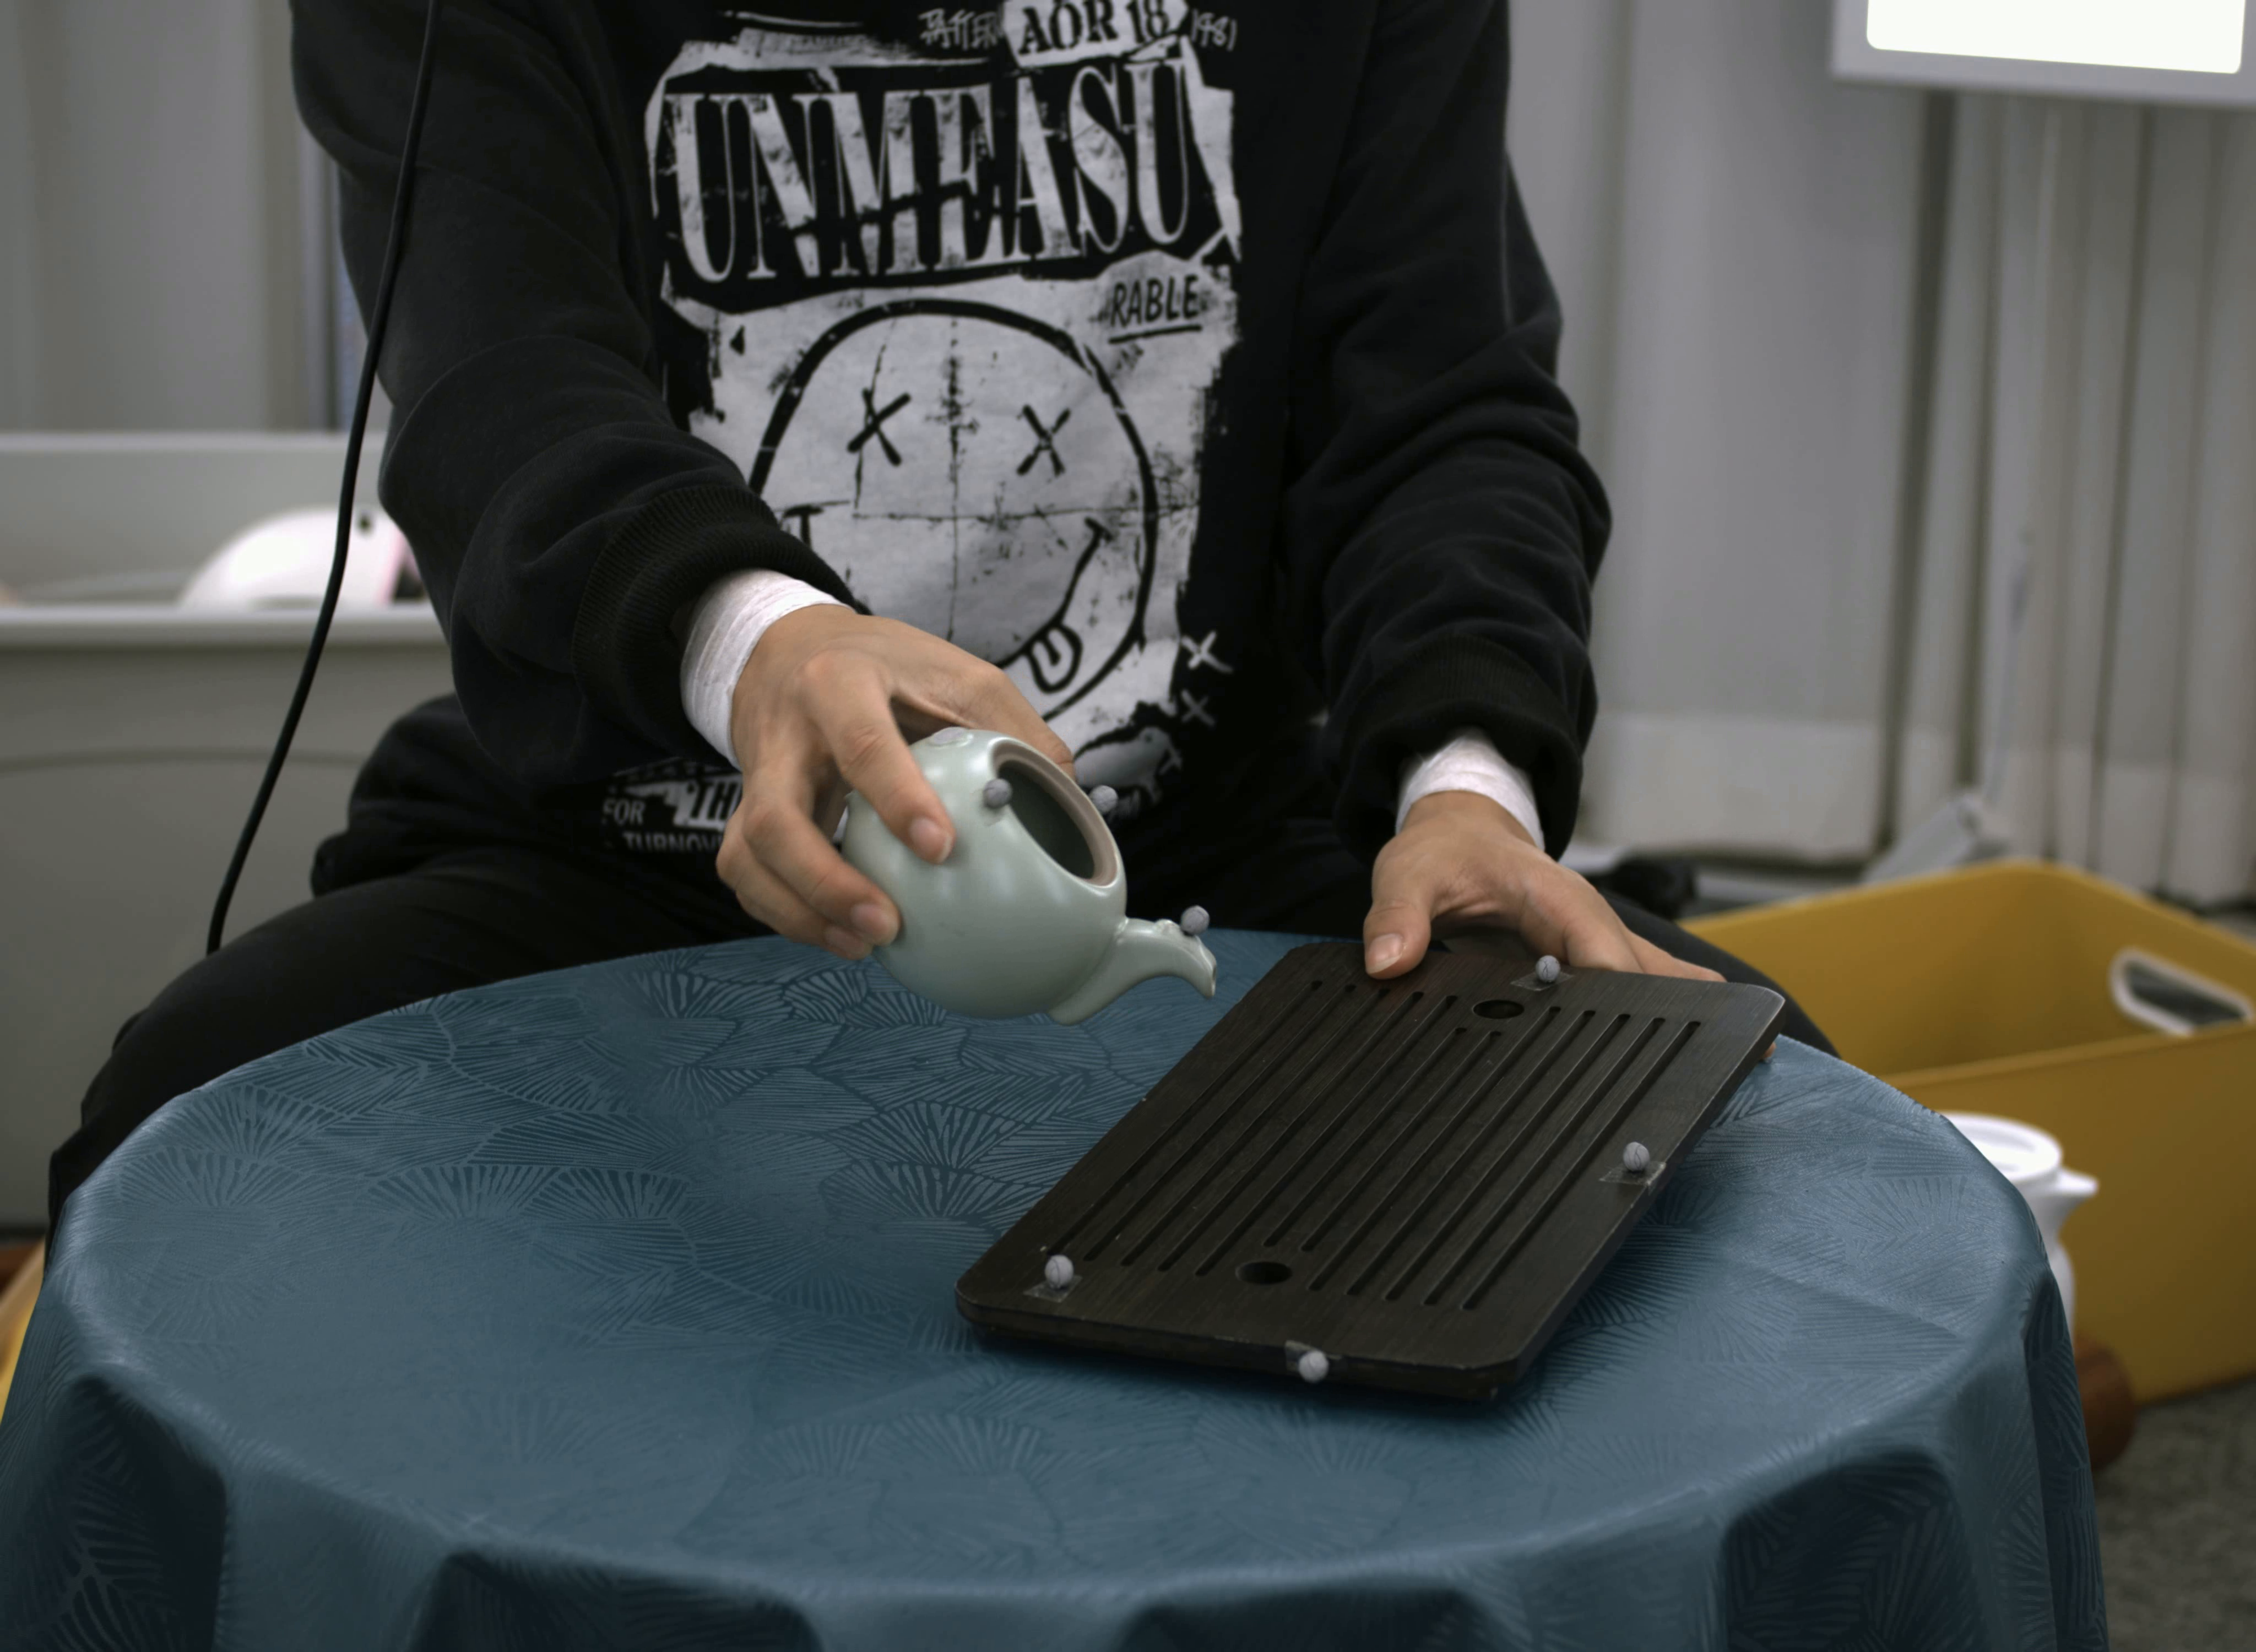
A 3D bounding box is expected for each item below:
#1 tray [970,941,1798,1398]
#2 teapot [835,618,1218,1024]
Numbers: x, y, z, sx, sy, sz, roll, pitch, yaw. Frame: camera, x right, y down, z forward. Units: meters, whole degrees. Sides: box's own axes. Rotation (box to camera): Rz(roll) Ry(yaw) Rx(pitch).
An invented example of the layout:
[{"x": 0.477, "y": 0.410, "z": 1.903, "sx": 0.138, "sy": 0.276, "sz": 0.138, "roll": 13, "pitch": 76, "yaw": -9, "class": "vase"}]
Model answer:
[{"x": 0.085, "y": 0.100, "z": 1.595, "sx": 0.168, "sy": 0.019, "sz": 0.306, "roll": 6, "pitch": 20, "yaw": 21, "class": "tray"}, {"x": -0.041, "y": 0.012, "z": 1.552, "sx": 0.074, "sy": 0.144, "sz": 0.088, "roll": -35, "pitch": 8, "yaw": 19, "class": "teapot"}]
